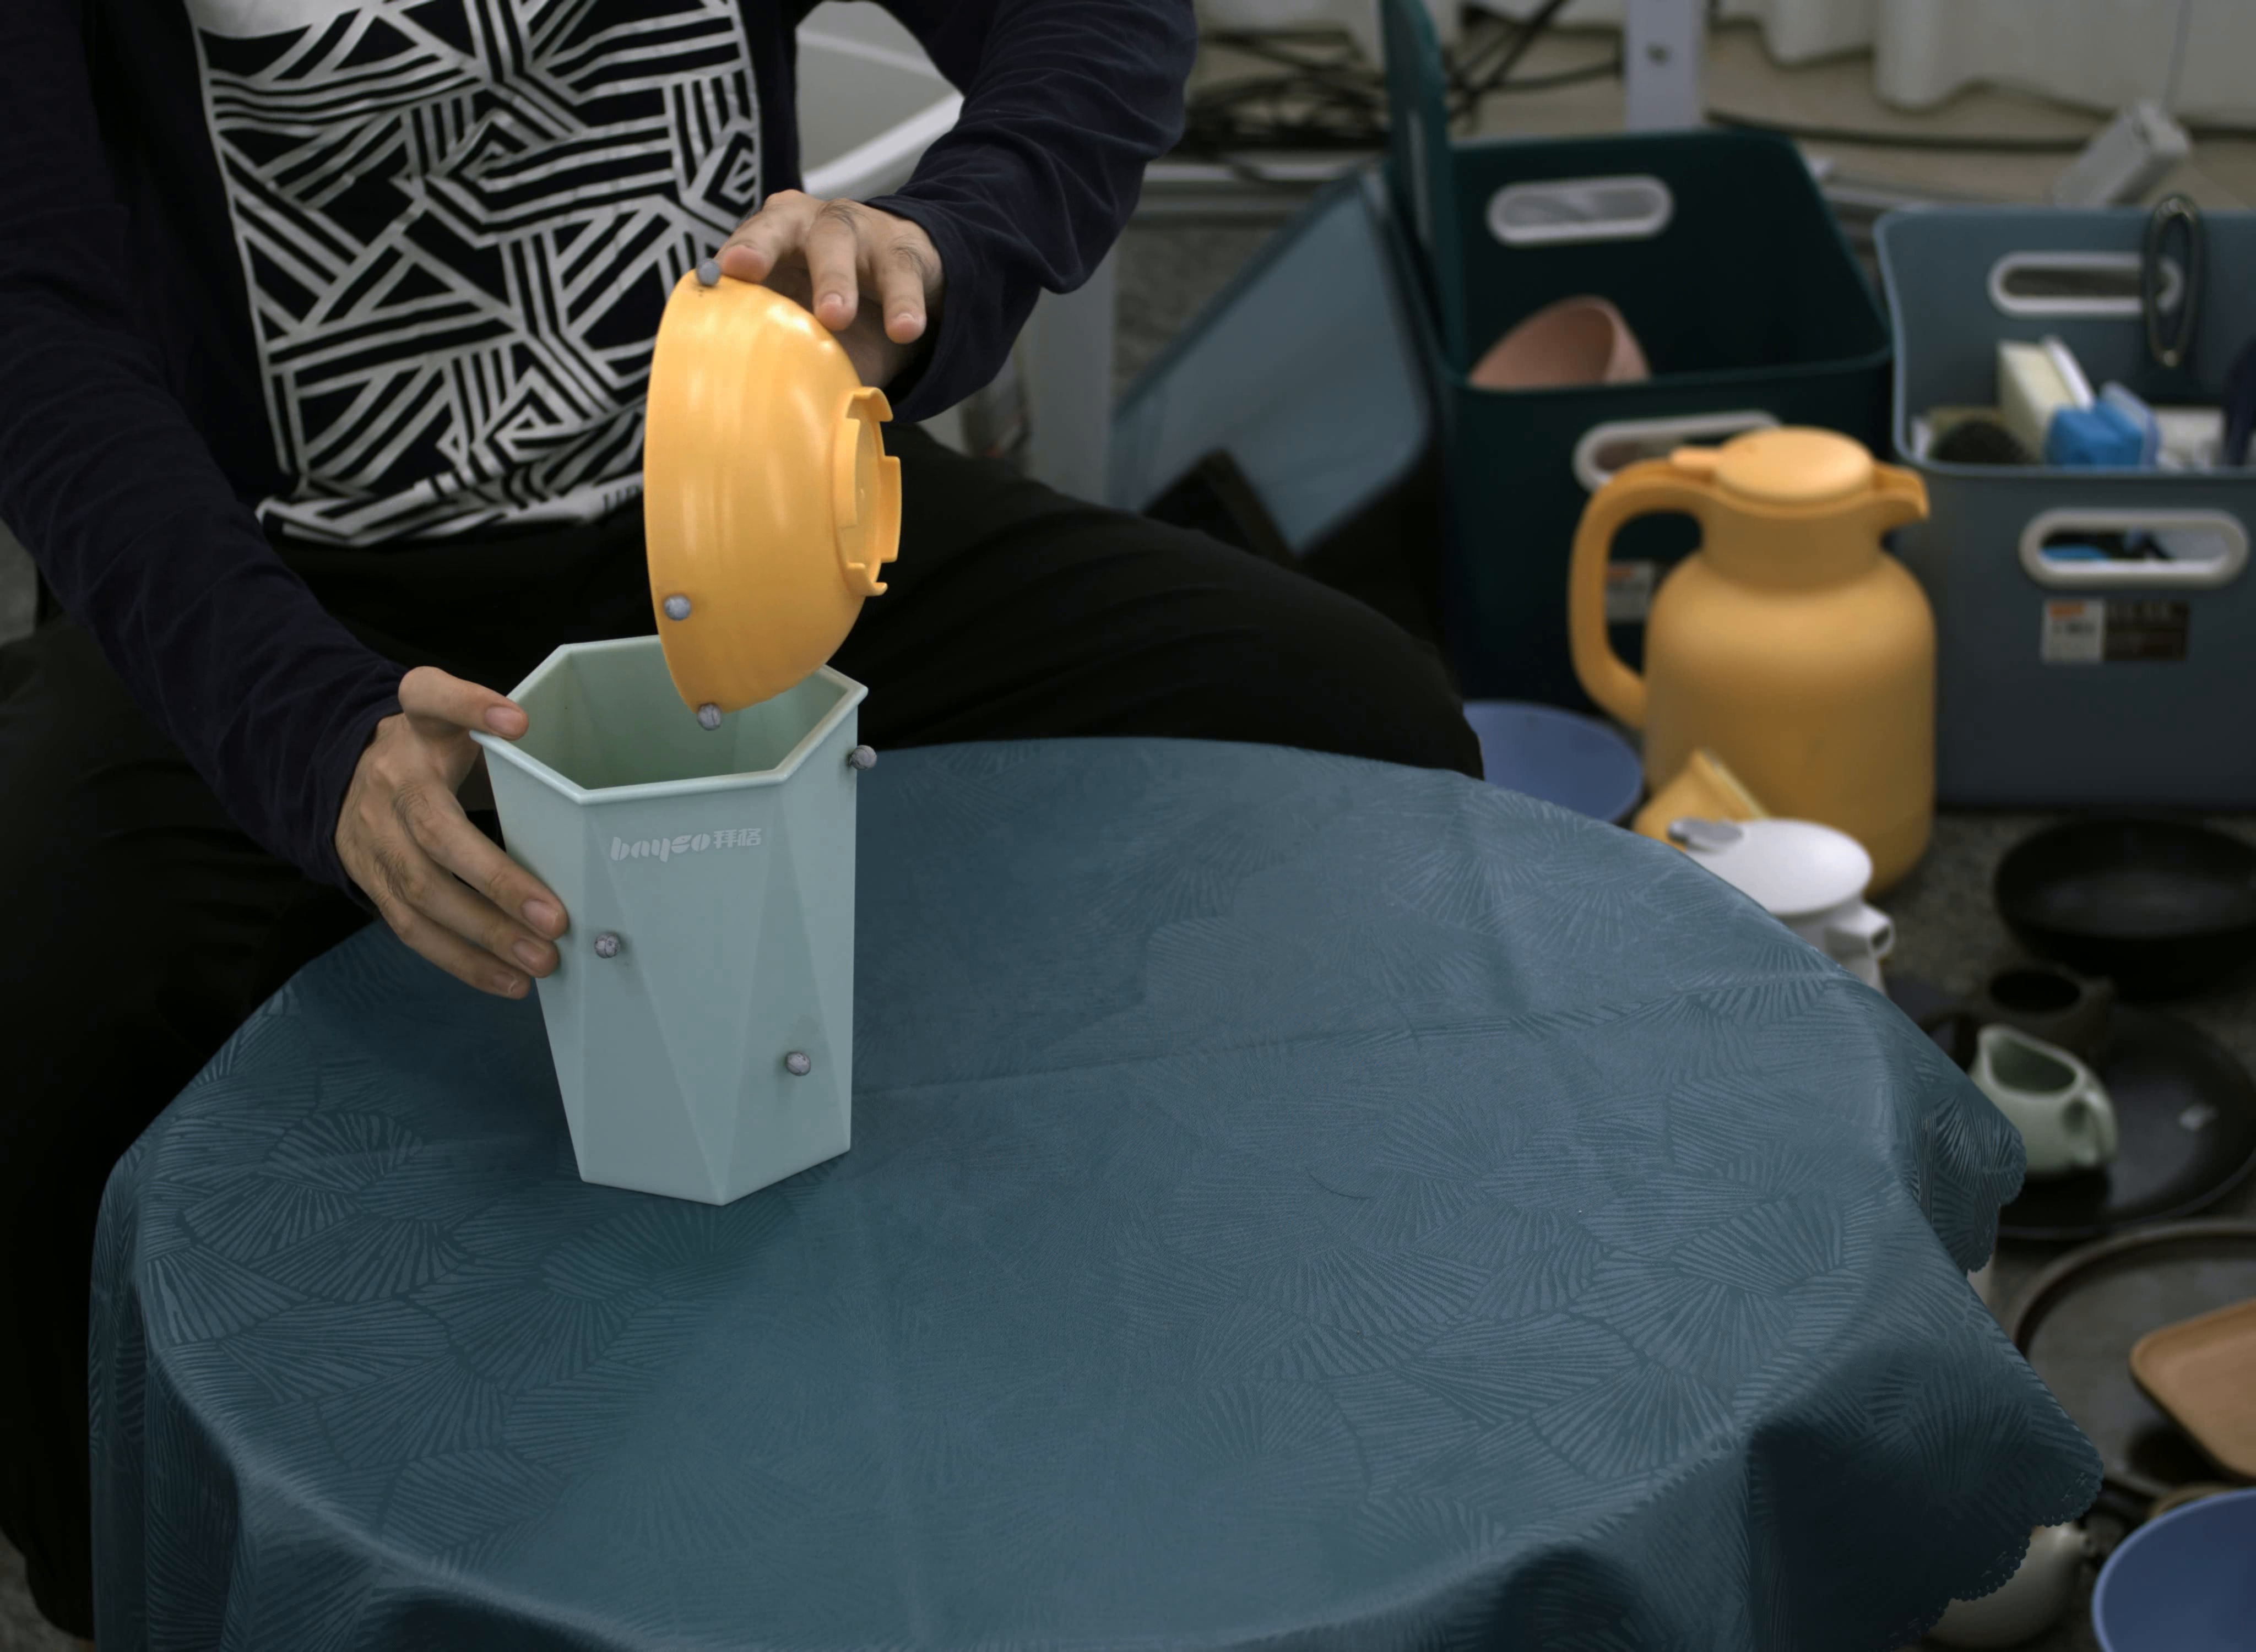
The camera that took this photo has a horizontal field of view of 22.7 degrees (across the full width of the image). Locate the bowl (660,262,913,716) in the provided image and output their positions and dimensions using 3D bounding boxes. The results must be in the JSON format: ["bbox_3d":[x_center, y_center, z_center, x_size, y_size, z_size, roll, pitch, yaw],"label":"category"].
[{"bbox_3d":[-0.104,-0.107,1.802,0.060,0.144,0.148,2,27,10],"label":"bowl"}]

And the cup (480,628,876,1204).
[{"bbox_3d":[-0.144,0.031,1.872,0.131,0.161,0.116,-6,25,-8],"label":"cup"}]
